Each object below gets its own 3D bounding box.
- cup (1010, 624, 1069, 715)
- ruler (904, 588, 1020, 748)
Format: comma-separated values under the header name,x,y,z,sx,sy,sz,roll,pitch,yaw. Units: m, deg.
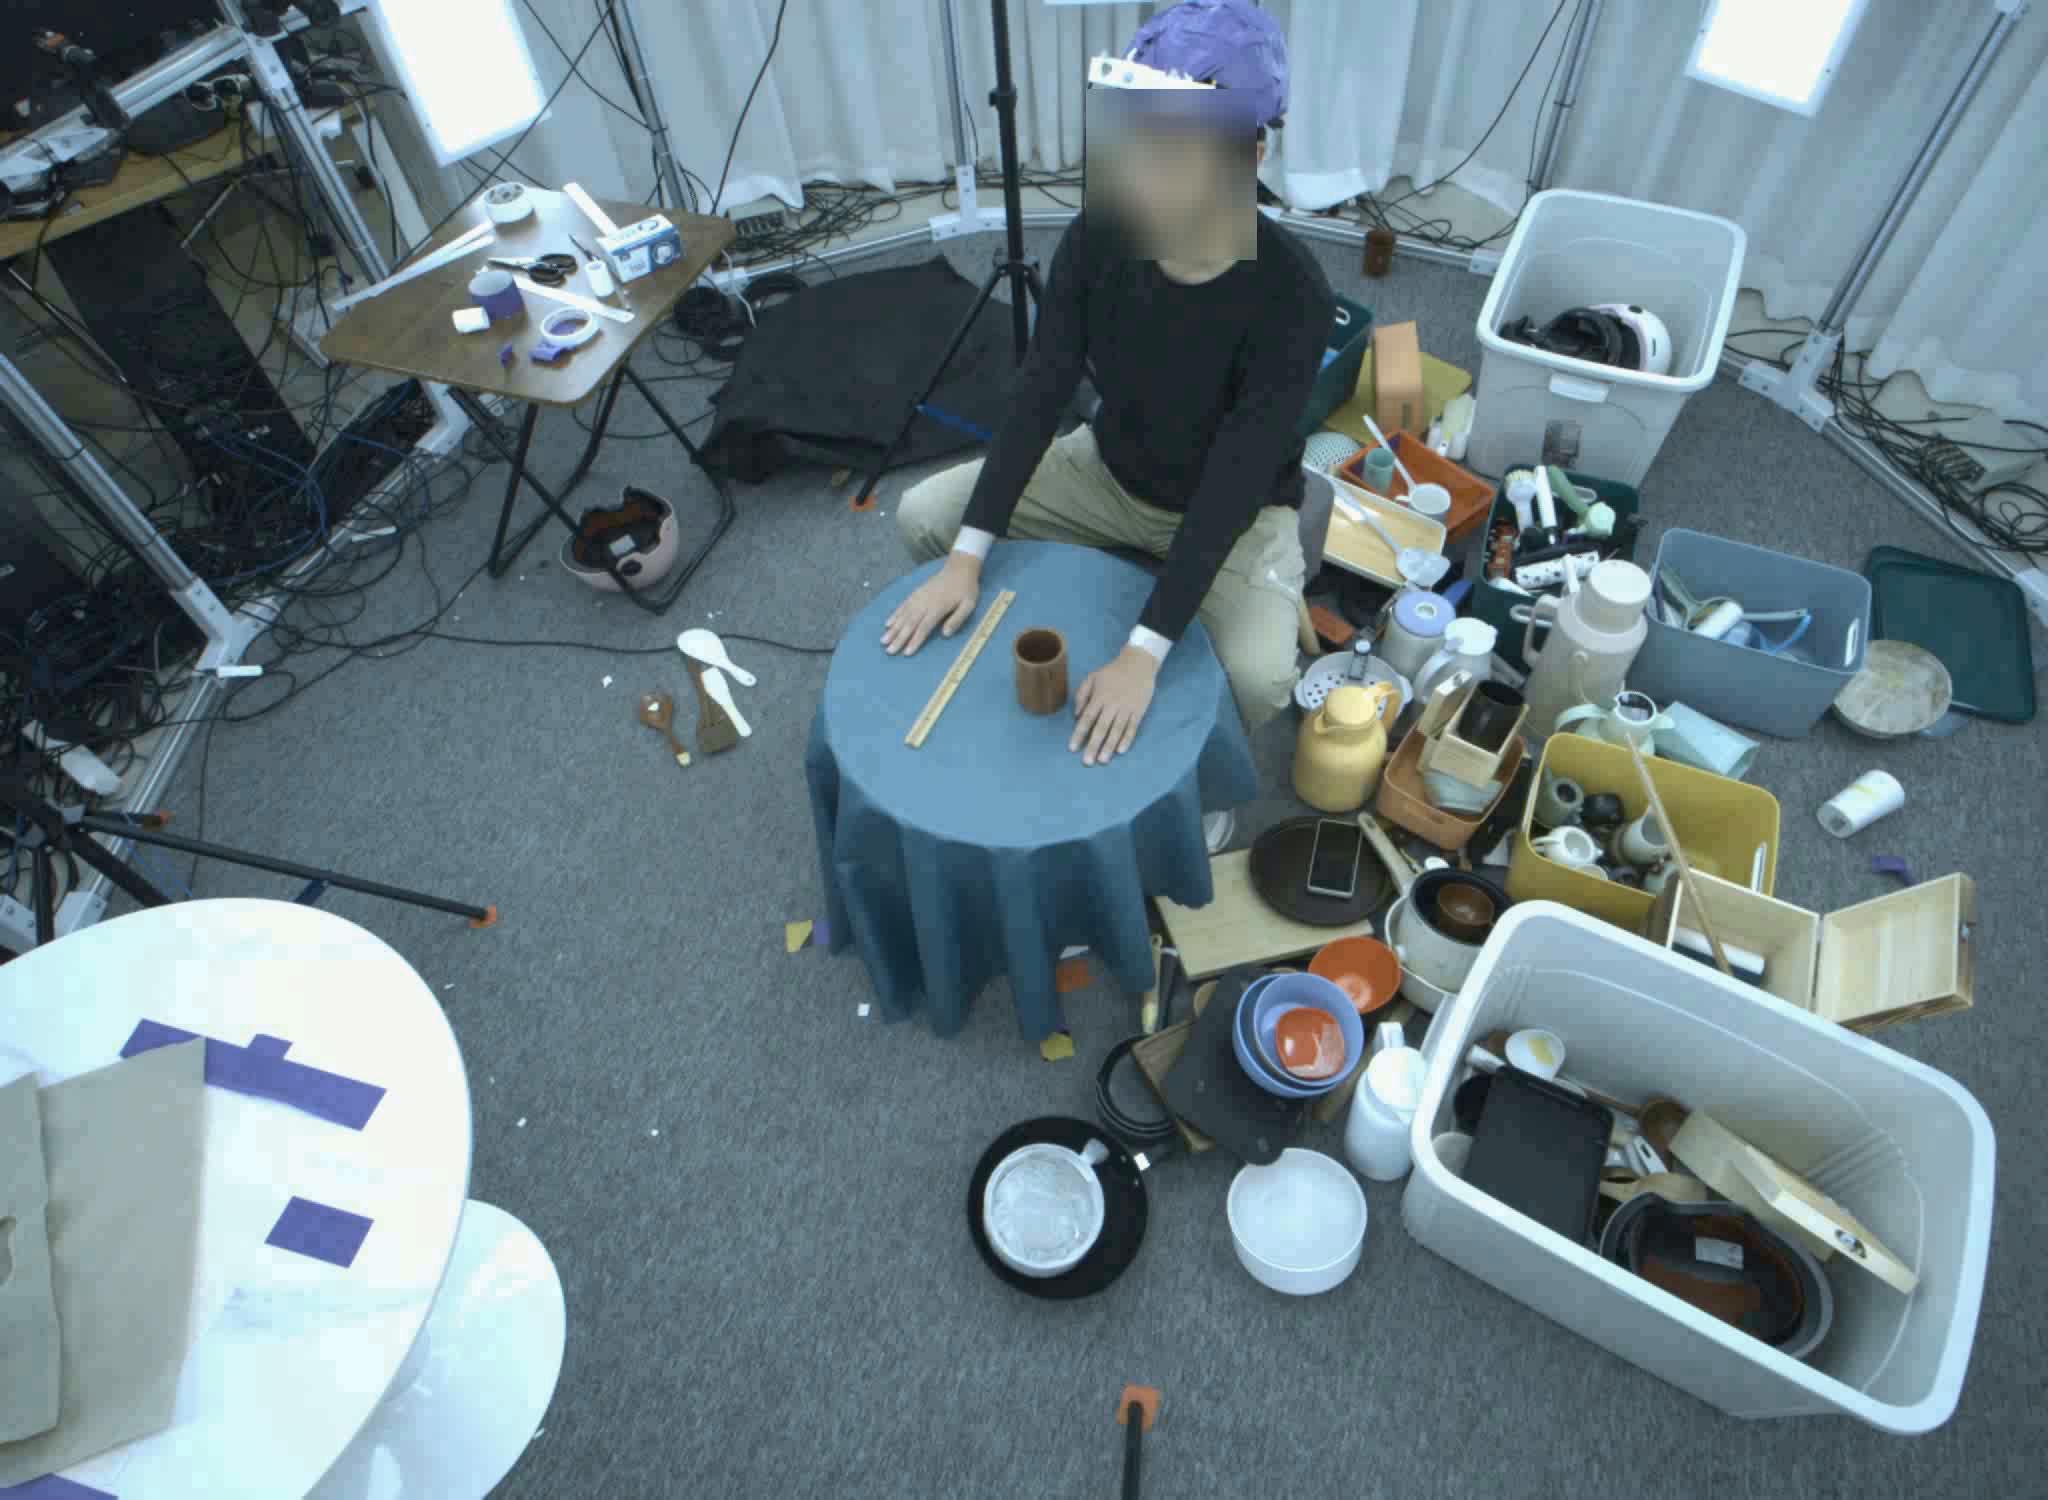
name,x,y,z,sx,sy,sz,roll,pitch,yaw
cup,0.023,-0.117,1.798,0.087,0.119,0.087,-1,55,2
ruler,-0.092,-0.134,1.879,0.027,0.022,0.332,23,59,13
